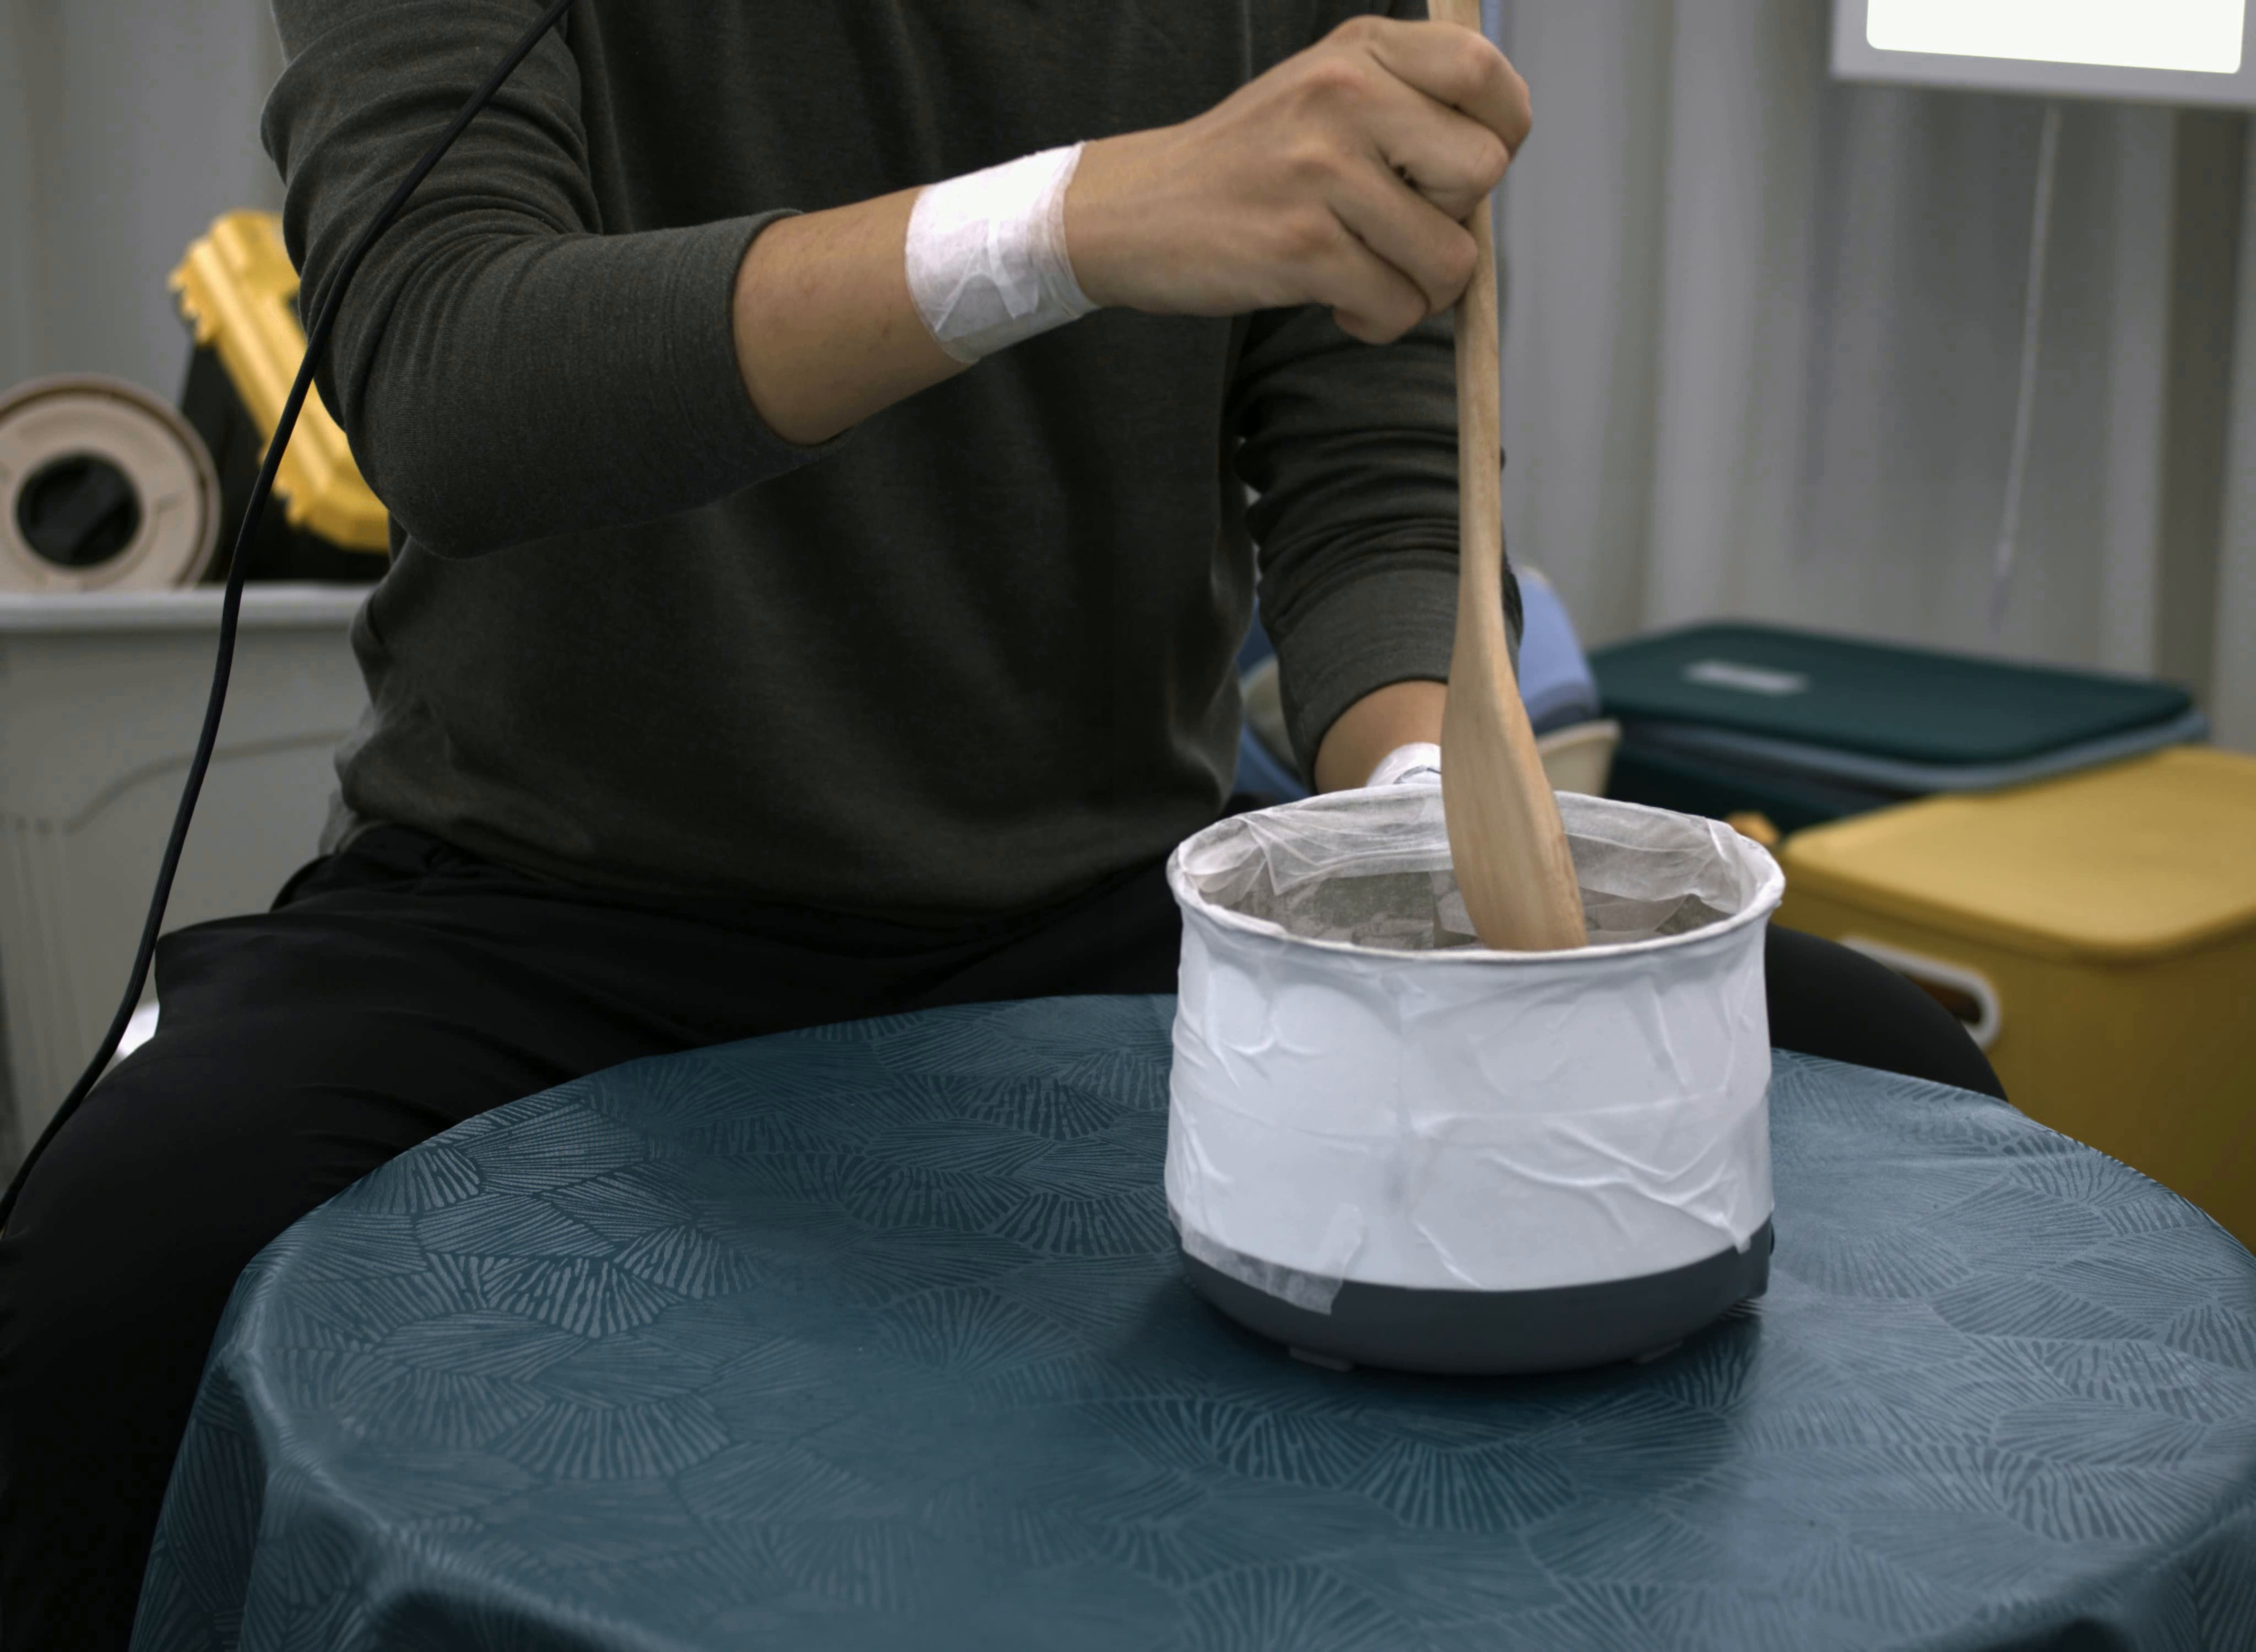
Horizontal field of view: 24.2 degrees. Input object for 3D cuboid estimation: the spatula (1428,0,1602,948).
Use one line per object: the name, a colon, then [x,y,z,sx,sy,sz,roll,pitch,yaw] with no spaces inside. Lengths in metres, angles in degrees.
spatula: [0.097,-0.140,1.460,0.018,0.393,0.095,-7,10,-17]

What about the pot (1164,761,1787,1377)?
pot: [0.095,0.065,1.541,0.178,0.138,0.232,-1,16,-6]
